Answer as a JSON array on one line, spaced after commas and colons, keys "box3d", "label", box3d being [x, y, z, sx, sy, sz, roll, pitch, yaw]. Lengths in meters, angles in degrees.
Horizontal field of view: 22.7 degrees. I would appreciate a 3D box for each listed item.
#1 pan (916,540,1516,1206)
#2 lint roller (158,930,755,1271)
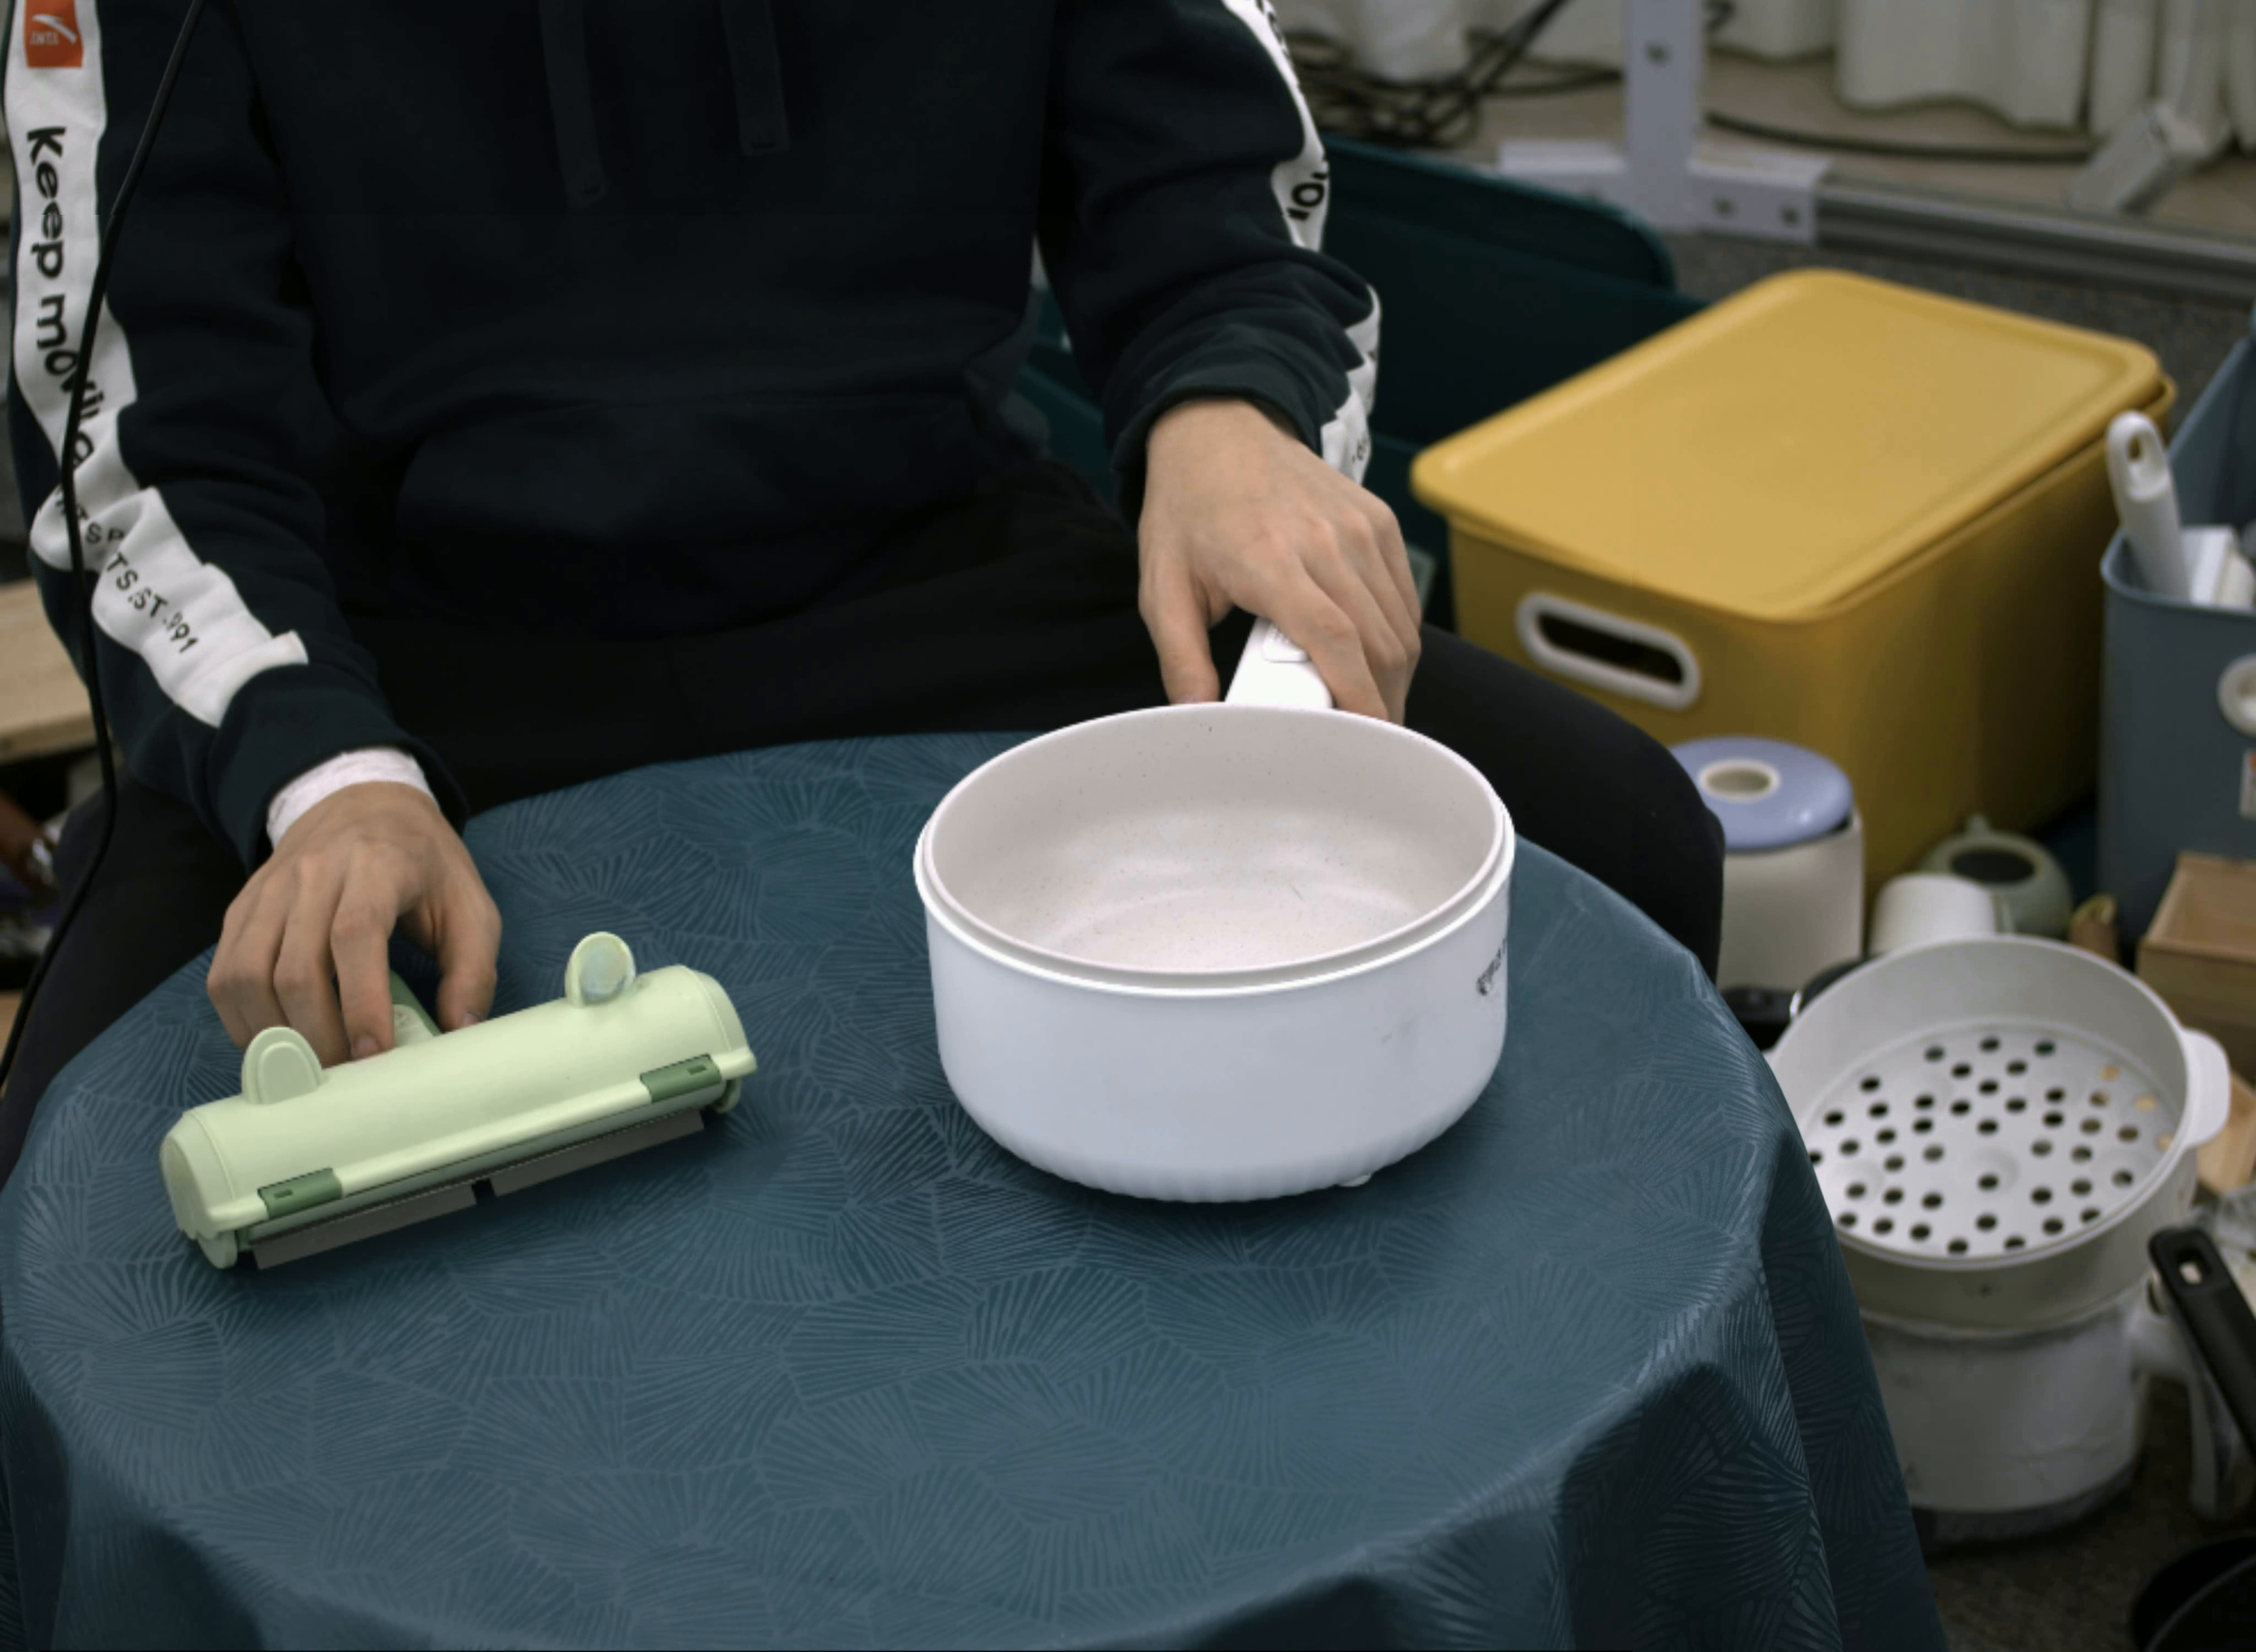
[{"box3d": [0.047, 0.013, 1.961, 0.200, 0.101, 0.360, 2, 26, 12], "label": "pan"}, {"box3d": [-0.249, 0.065, 1.912, 0.199, 0.081, 0.184, -16, 35, -23], "label": "lint roller"}]
